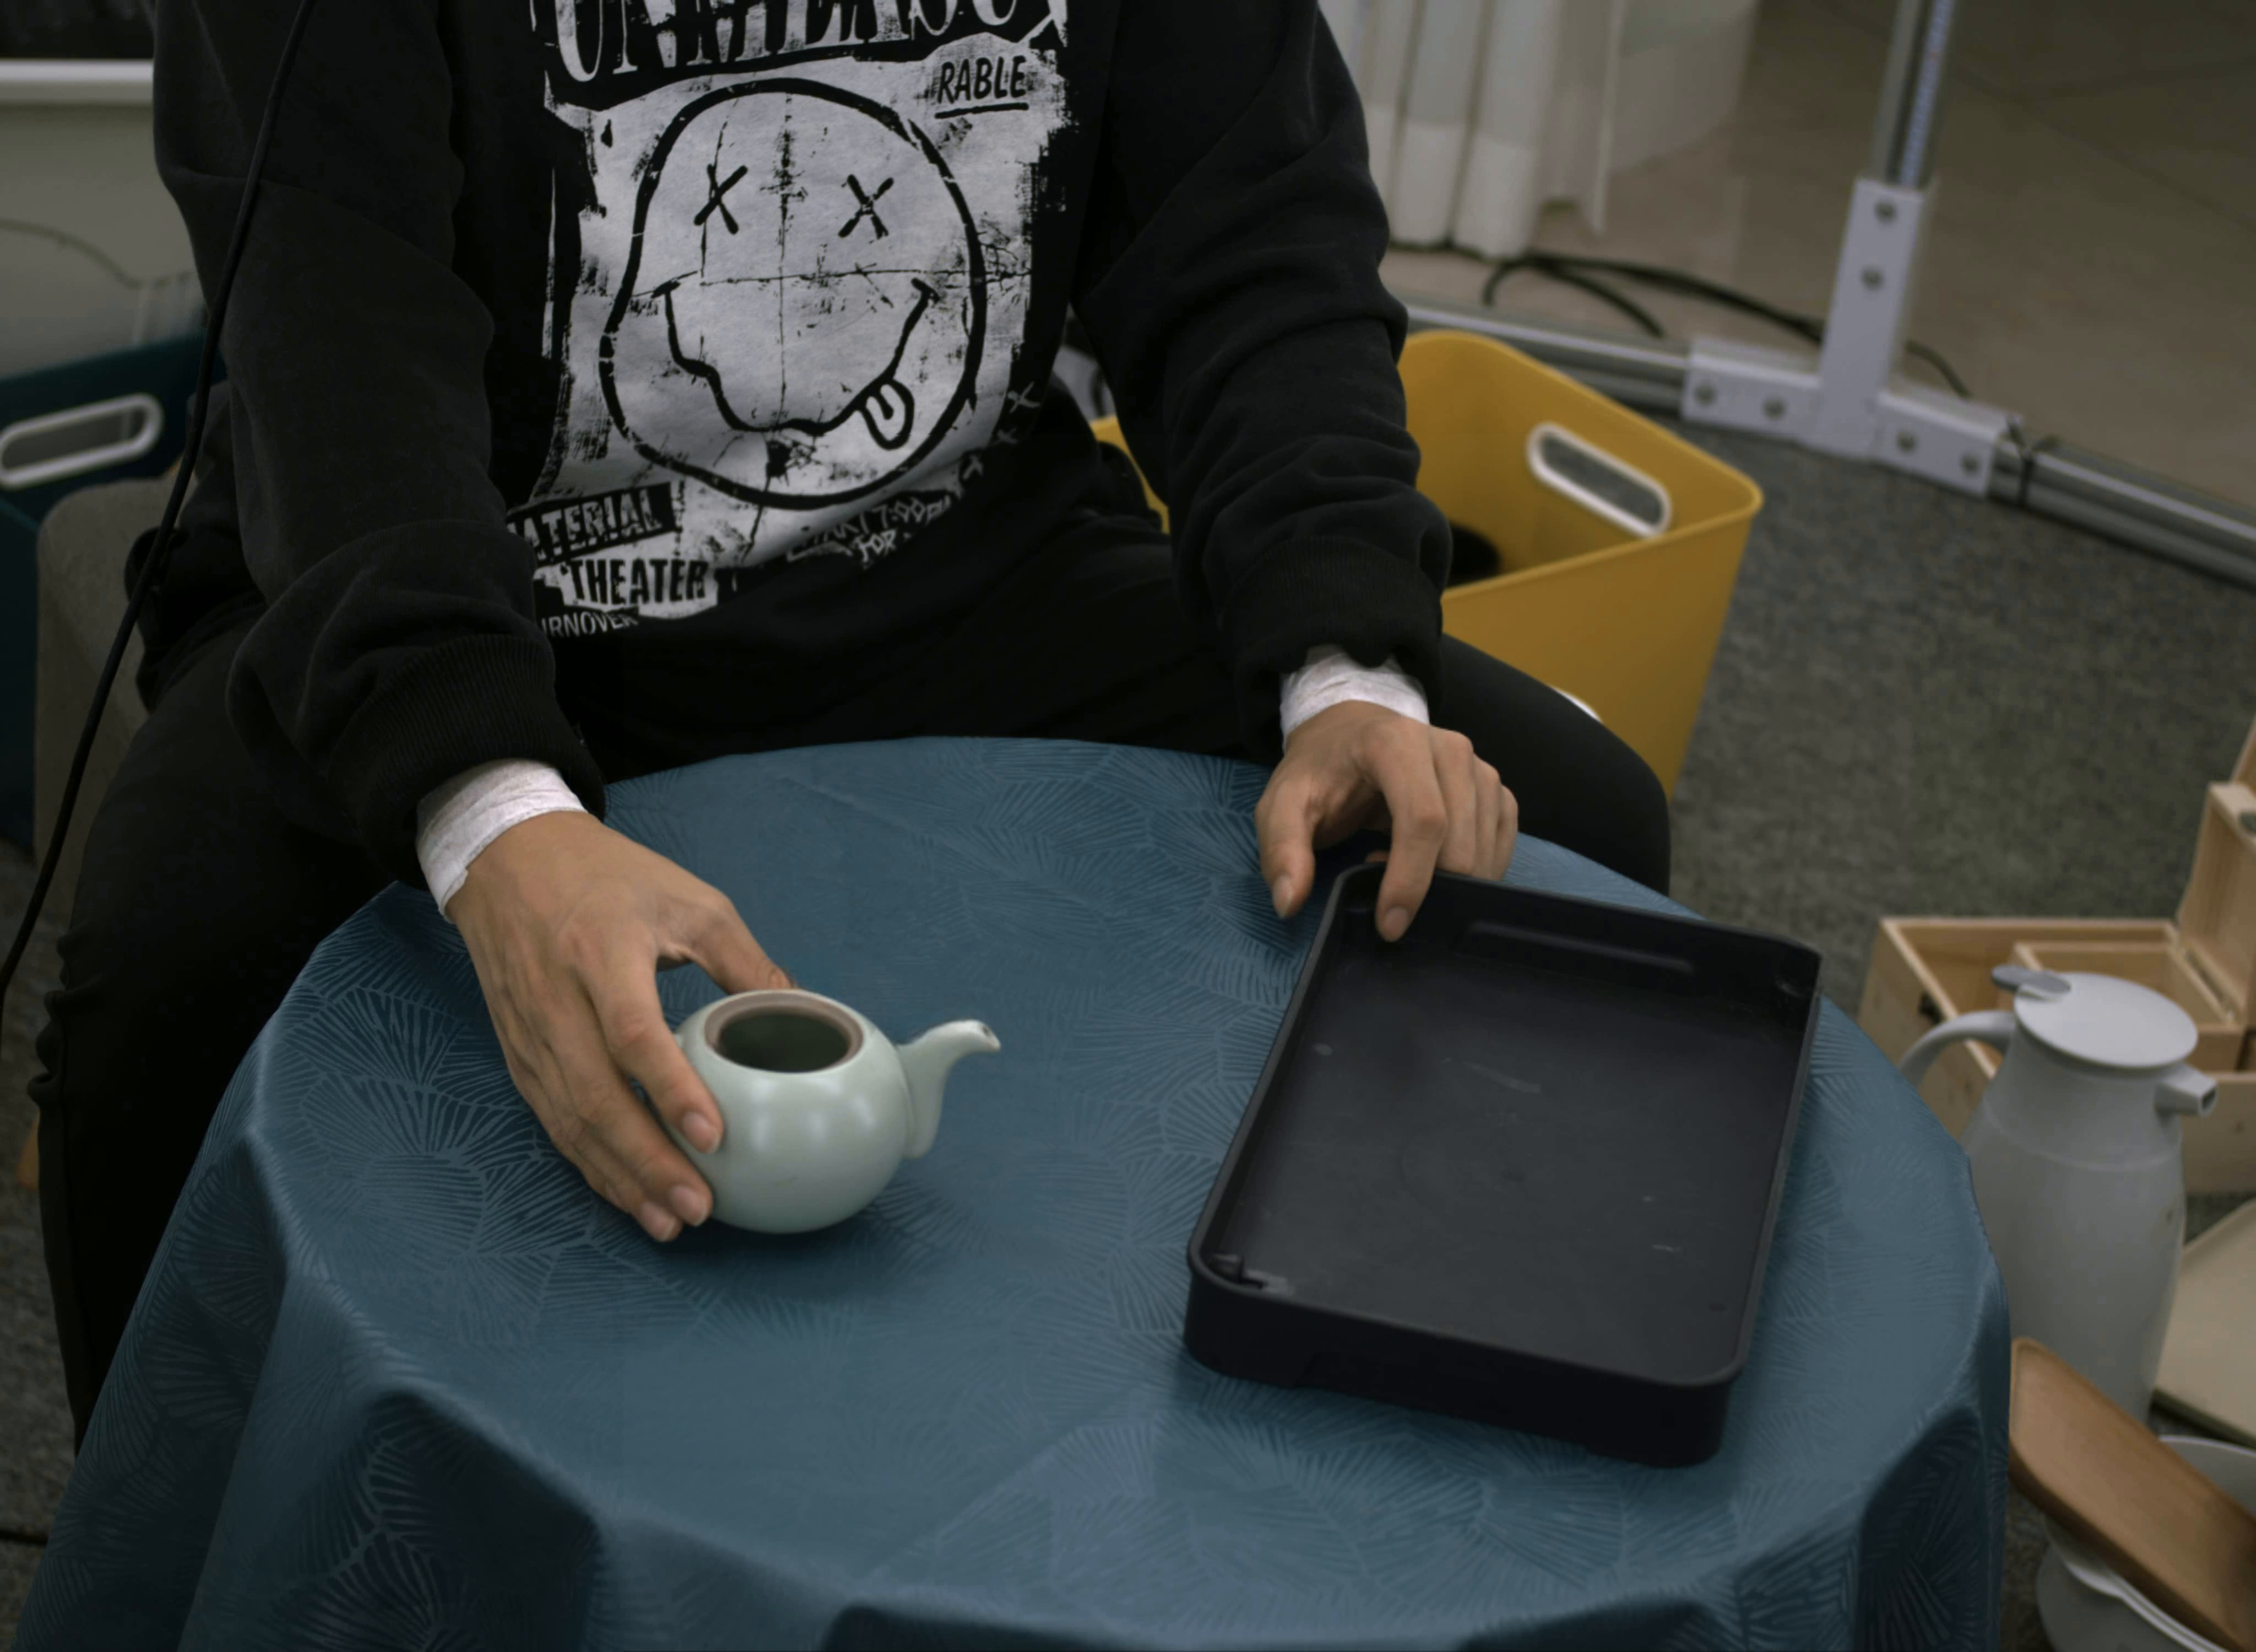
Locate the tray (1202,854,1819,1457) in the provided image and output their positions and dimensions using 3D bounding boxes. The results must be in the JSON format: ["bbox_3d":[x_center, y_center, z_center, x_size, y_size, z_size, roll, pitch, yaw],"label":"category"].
[{"bbox_3d":[0.136,0.106,1.830,0.184,0.037,0.319,10,27,7],"label":"tray"}]

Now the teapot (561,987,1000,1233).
[{"bbox_3d":[-0.117,0.093,1.759,0.143,0.074,0.089,5,26,-7],"label":"teapot"}]
